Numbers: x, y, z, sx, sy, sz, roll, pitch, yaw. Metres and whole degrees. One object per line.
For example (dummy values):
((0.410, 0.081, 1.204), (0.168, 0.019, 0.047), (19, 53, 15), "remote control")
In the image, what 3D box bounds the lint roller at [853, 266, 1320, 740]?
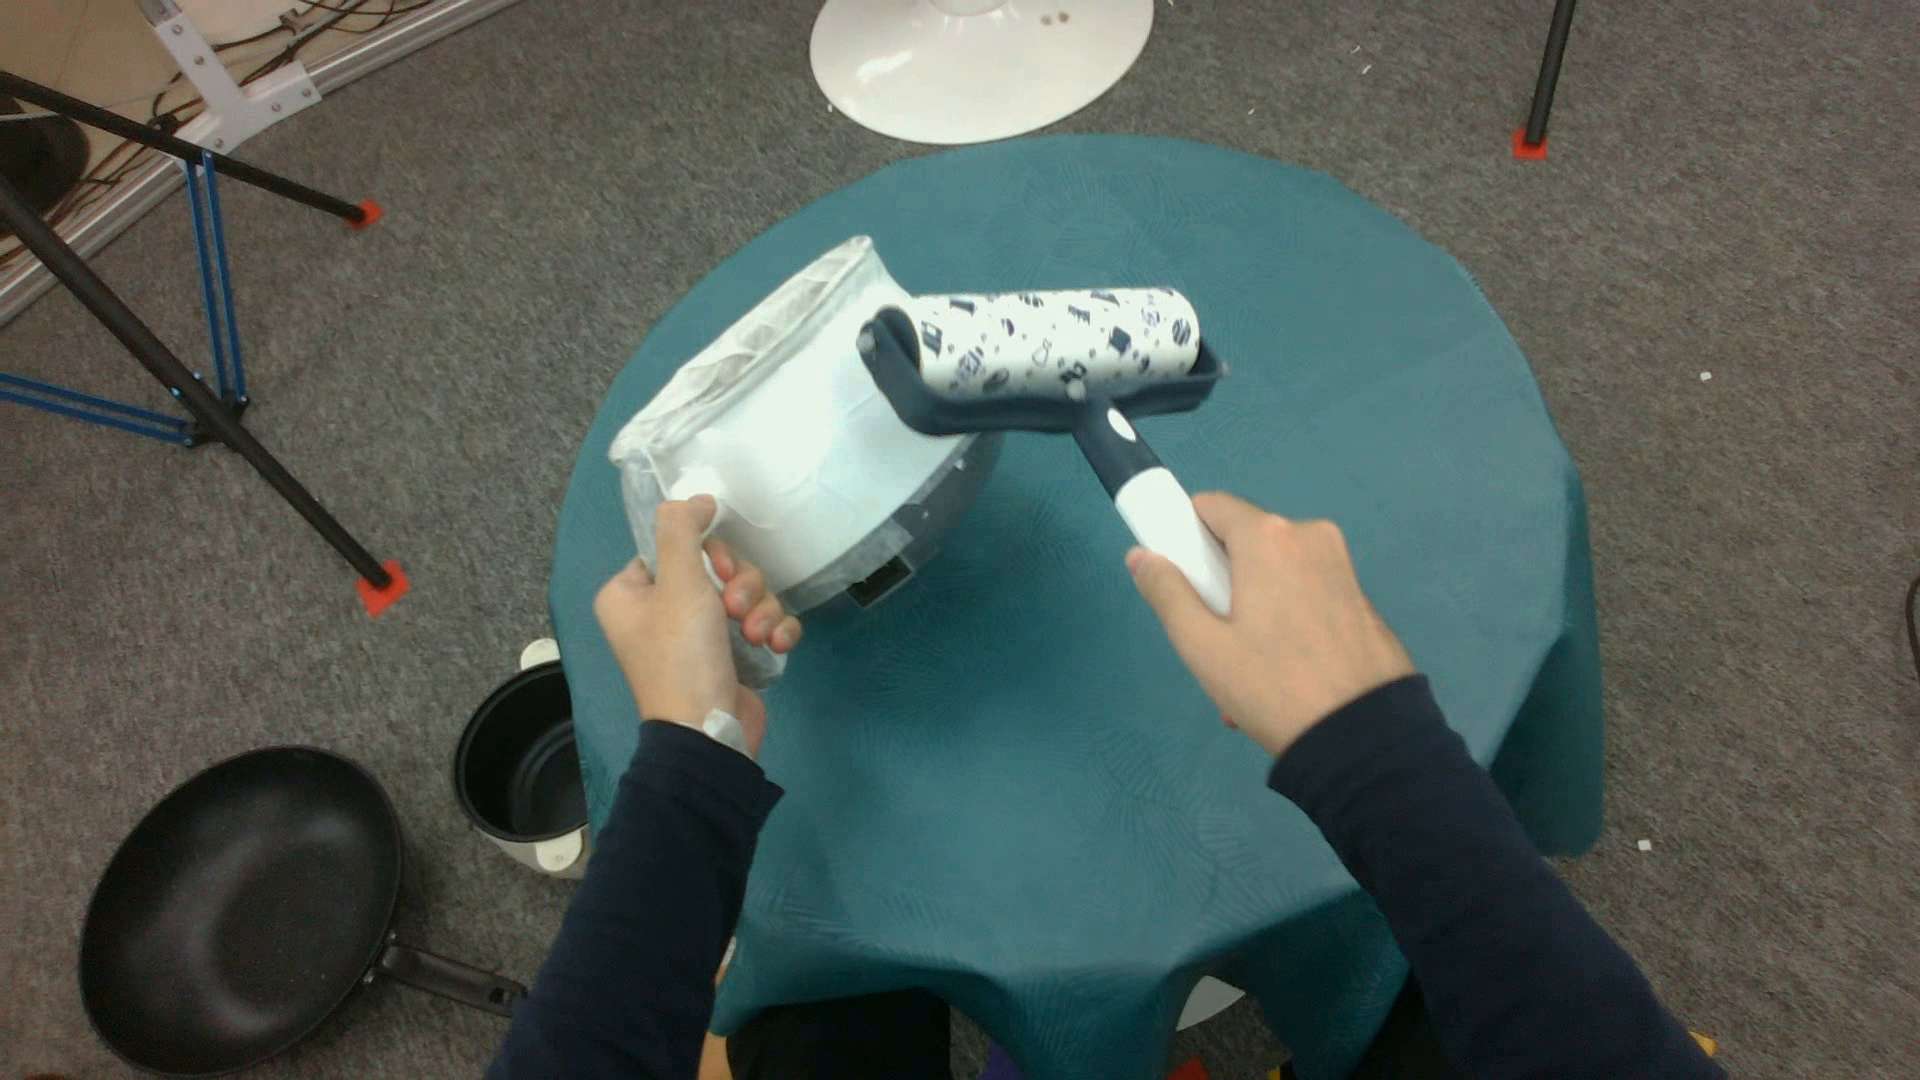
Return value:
((0.080, -0.026, 0.583), (0.177, 0.050, 0.247), (-10, 55, -36), "lint roller")

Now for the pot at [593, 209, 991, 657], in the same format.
((-0.093, -0.051, 0.707), (0.178, 0.136, 0.235), (-28, 20, 40), "pot")
